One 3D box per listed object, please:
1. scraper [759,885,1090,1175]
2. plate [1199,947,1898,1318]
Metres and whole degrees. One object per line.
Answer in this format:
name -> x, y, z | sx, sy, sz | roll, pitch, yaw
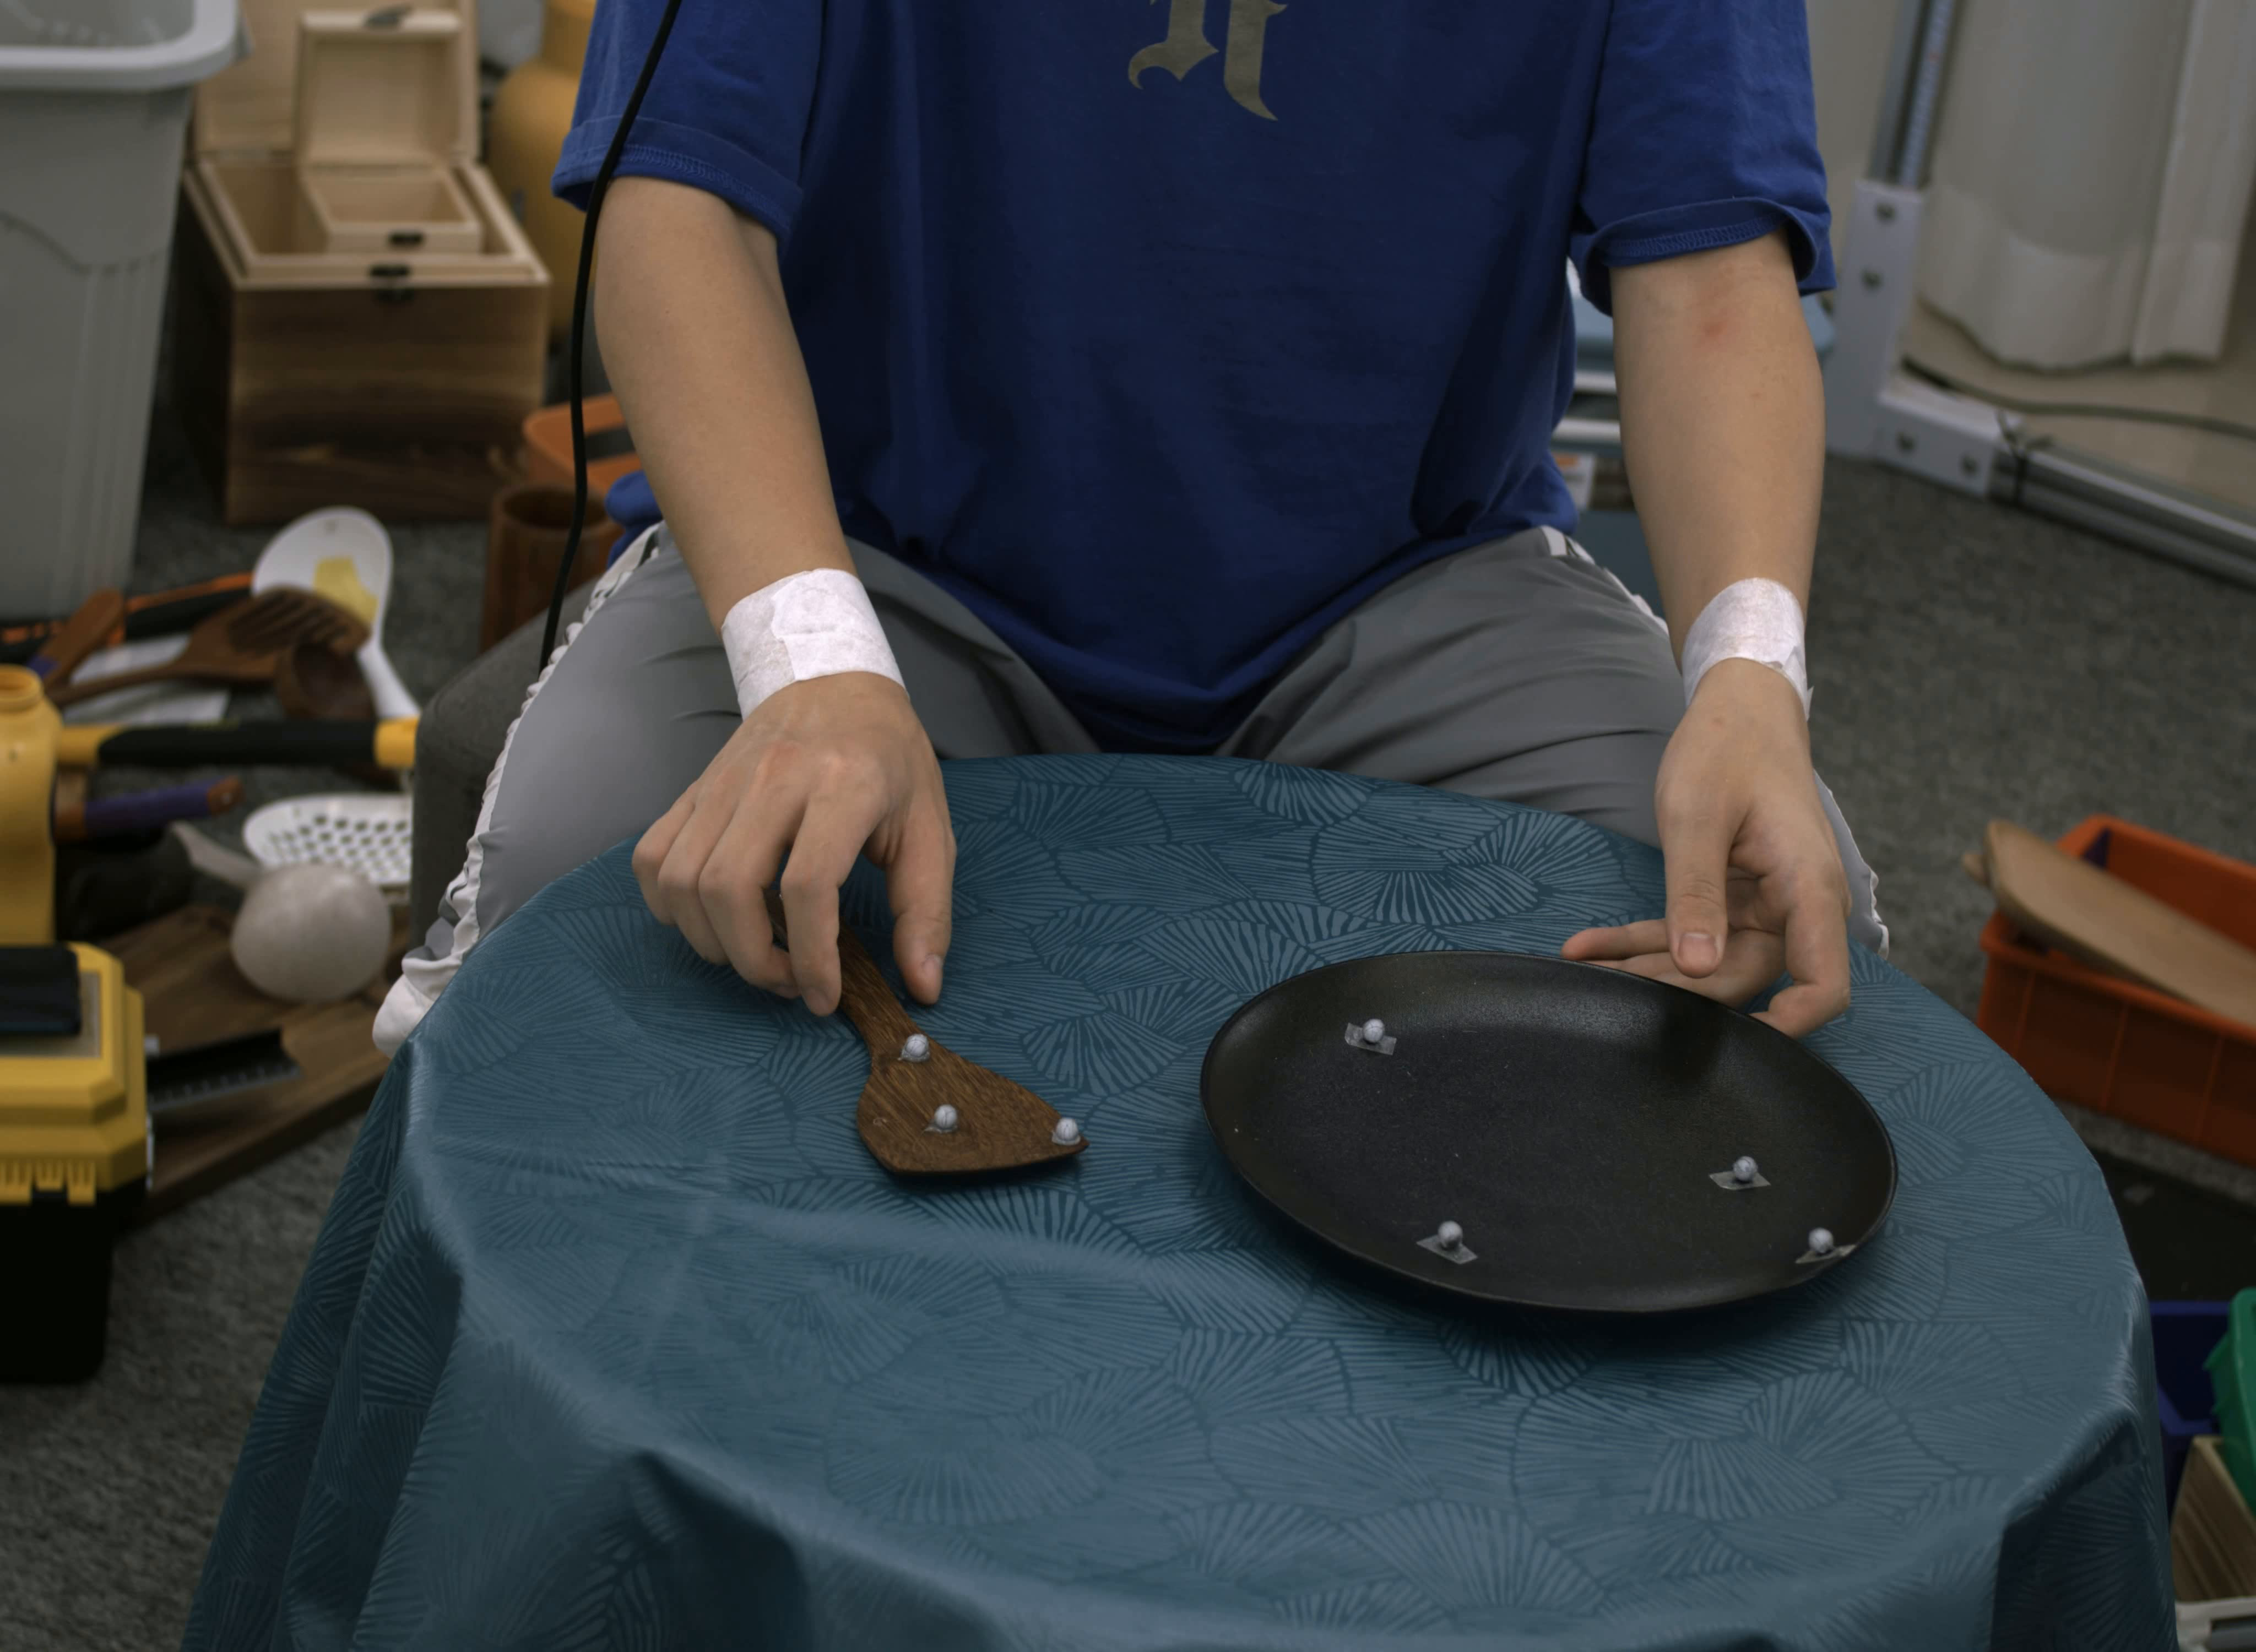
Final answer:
scraper -> -0.084, 0.071, 1.878 | 0.075, 0.011, 0.213 | -5, 29, -23
plate -> 0.144, 0.109, 1.838 | 0.243, 0.023, 0.246 | 5, 27, -3
